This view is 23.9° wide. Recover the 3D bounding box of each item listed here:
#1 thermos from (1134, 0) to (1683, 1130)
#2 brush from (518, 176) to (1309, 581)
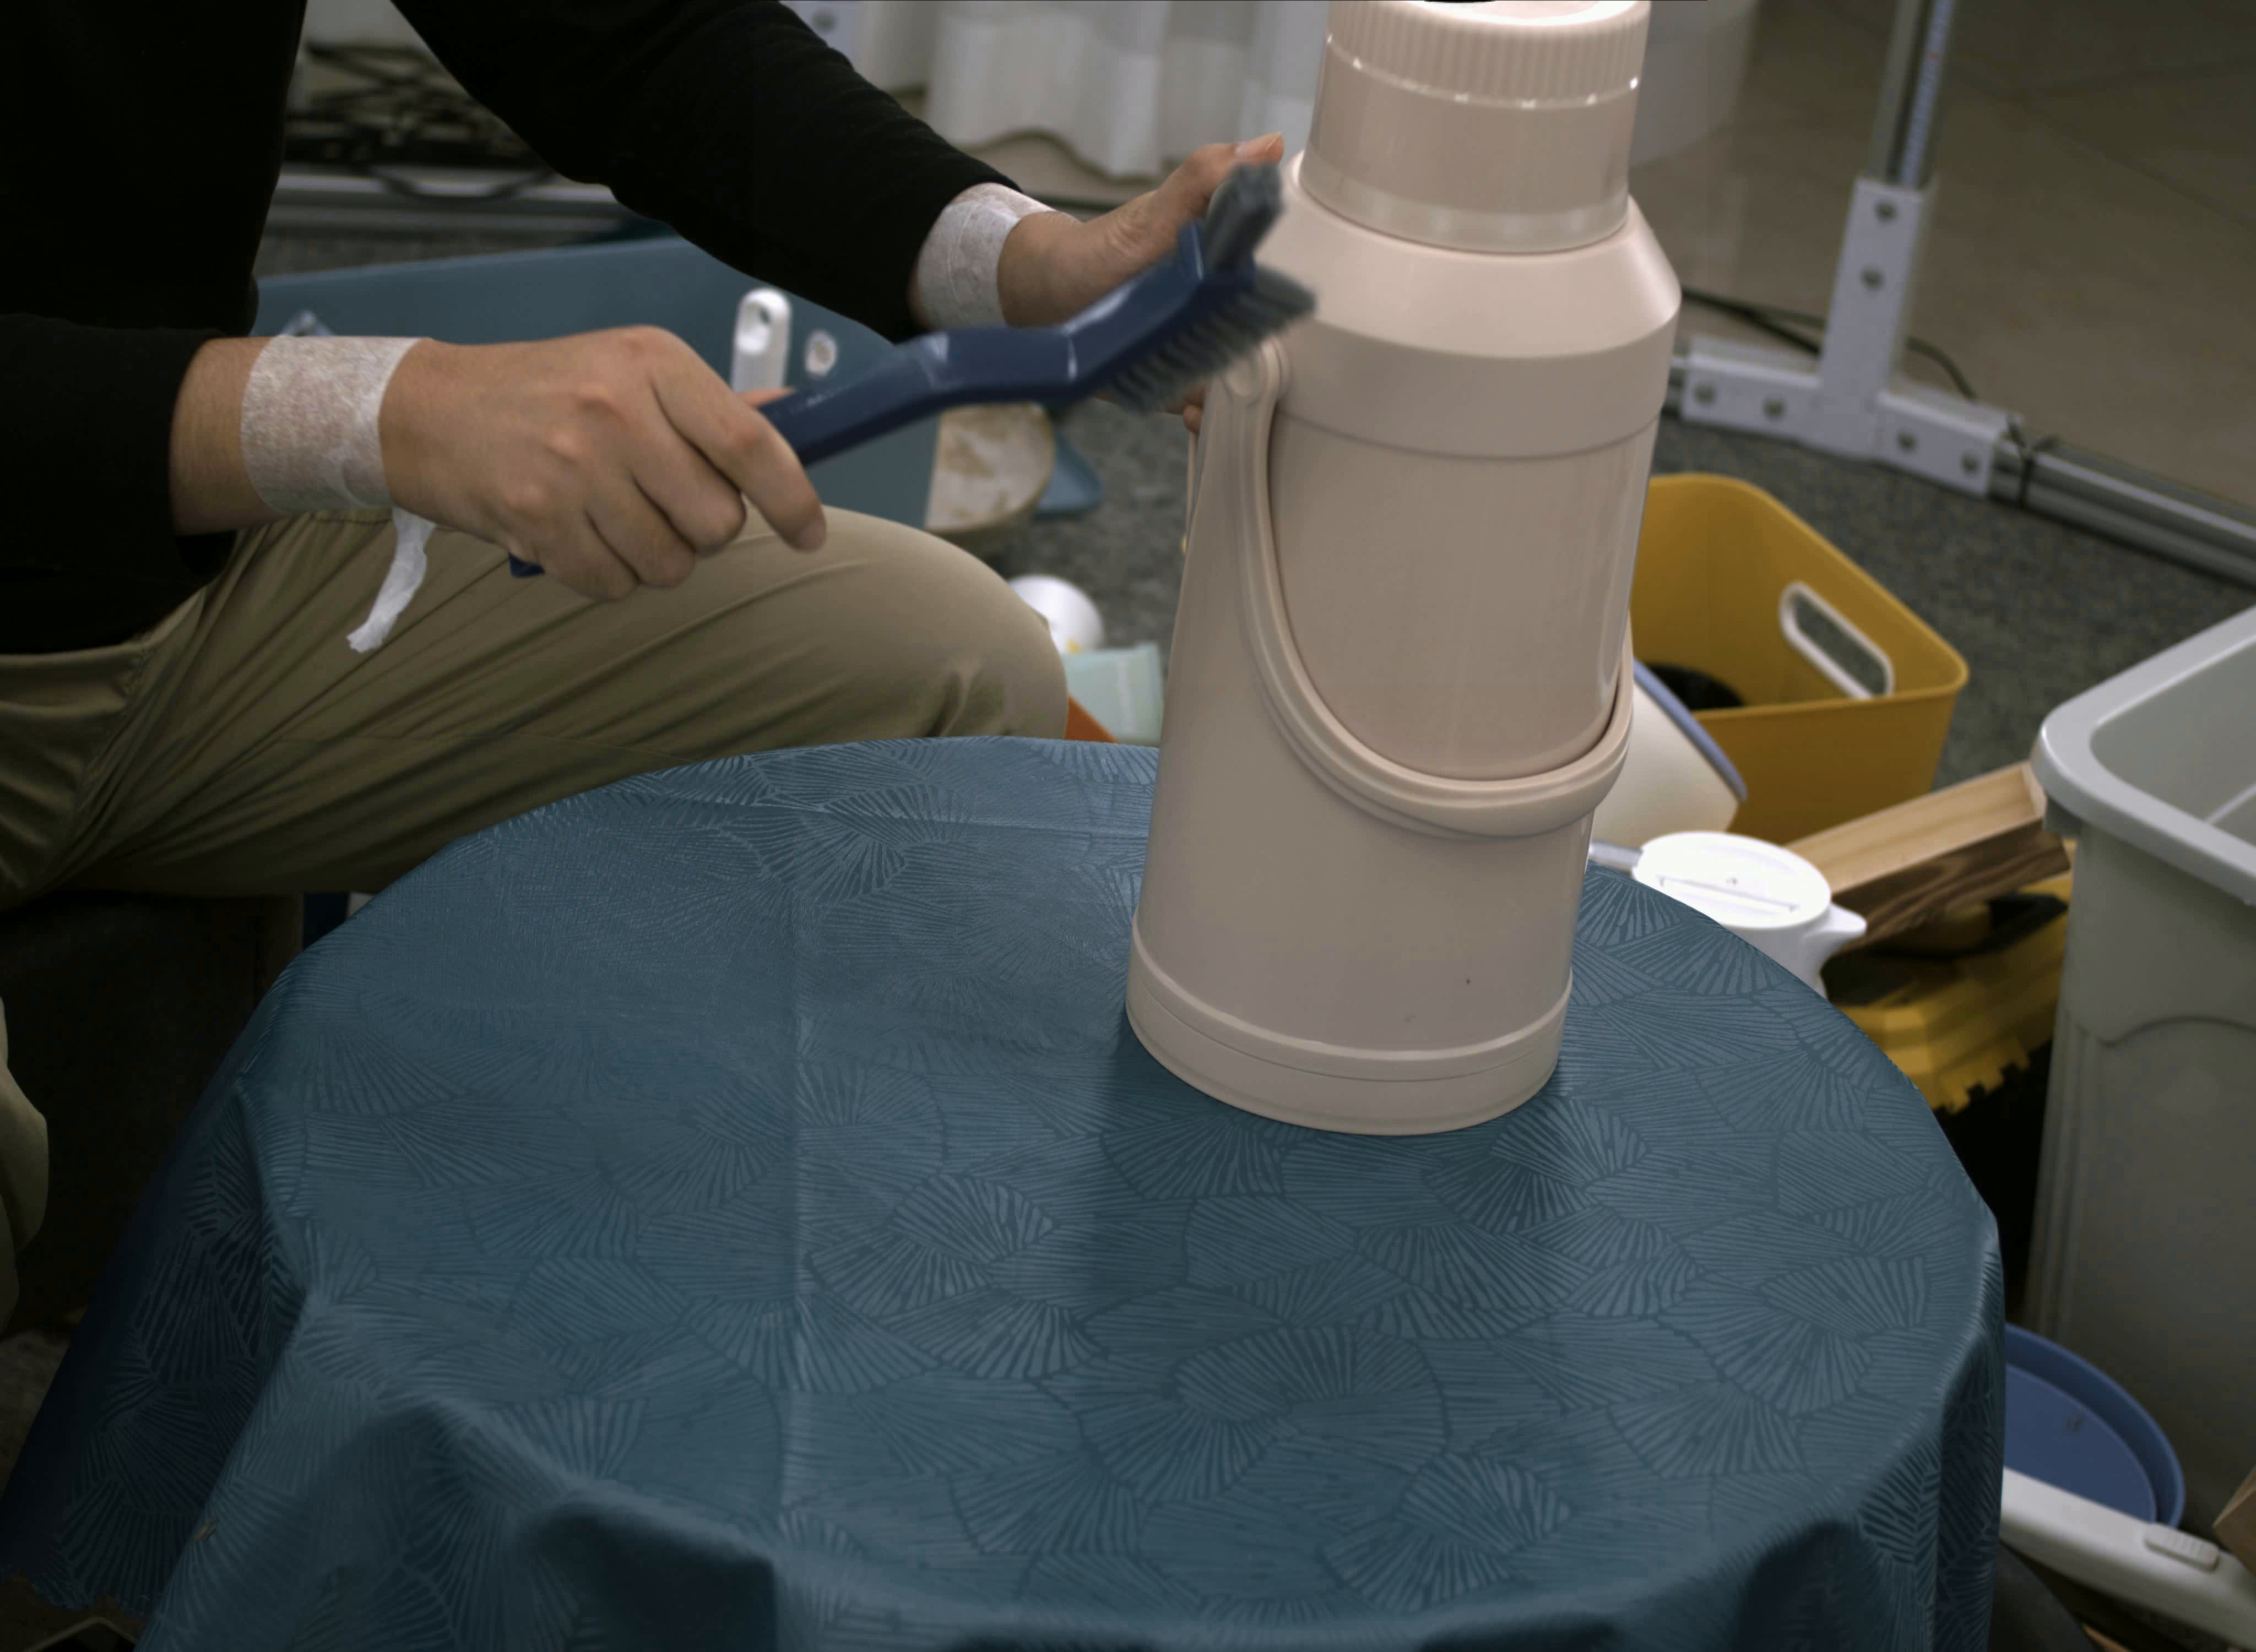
[{"bbox_3d":[0.092,-0.111,1.846,0.174,0.405,0.209,-15,34,-34],"label":"thermos"},{"bbox_3d":[-0.077,-0.139,1.672,0.273,0.095,0.034,-14,56,13],"label":"brush"}]
